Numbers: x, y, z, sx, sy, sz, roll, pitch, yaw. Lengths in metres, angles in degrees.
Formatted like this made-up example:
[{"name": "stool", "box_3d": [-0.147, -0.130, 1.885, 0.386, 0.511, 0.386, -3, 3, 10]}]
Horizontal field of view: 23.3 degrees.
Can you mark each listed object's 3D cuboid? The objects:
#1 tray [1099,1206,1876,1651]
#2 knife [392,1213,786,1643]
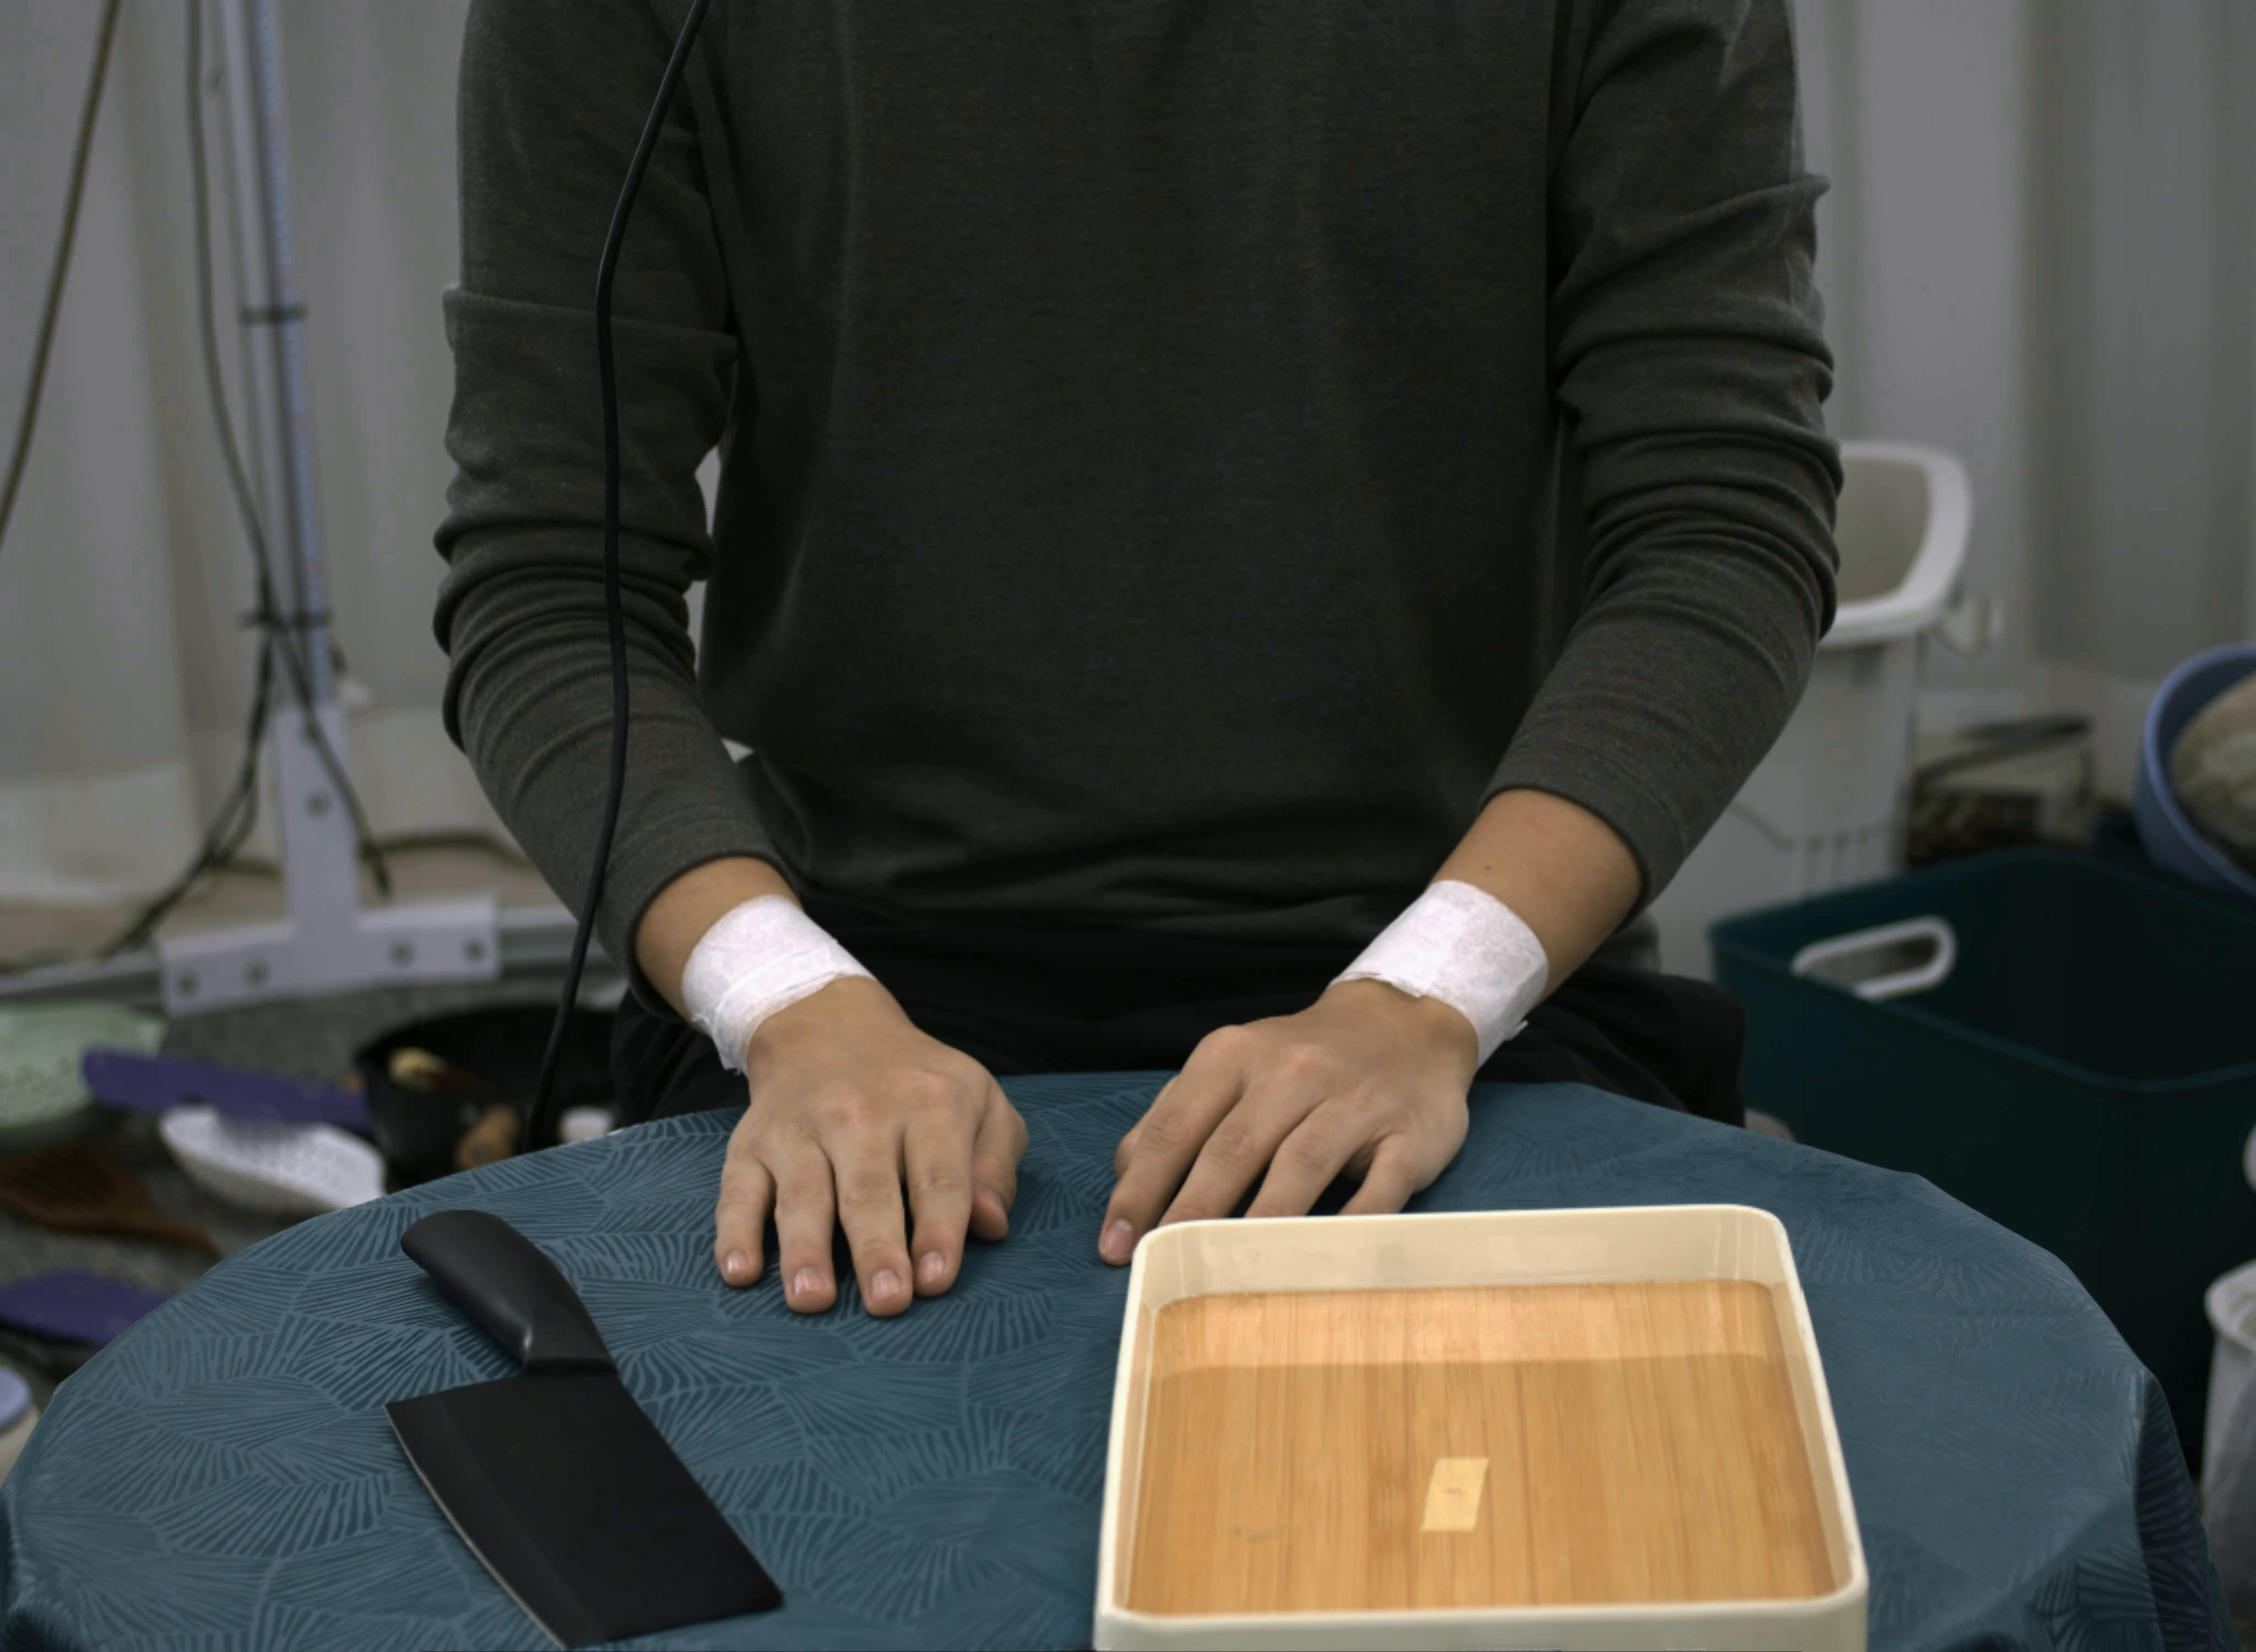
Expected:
[{"name": "tray", "box_3d": [0.092, 0.164, 1.461, 0.191, 0.027, 0.302, -2, 15, 3]}, {"name": "knife", "box_3d": [-0.166, 0.166, 1.530, 0.080, 0.021, 0.305, -8, 17, -15]}]
